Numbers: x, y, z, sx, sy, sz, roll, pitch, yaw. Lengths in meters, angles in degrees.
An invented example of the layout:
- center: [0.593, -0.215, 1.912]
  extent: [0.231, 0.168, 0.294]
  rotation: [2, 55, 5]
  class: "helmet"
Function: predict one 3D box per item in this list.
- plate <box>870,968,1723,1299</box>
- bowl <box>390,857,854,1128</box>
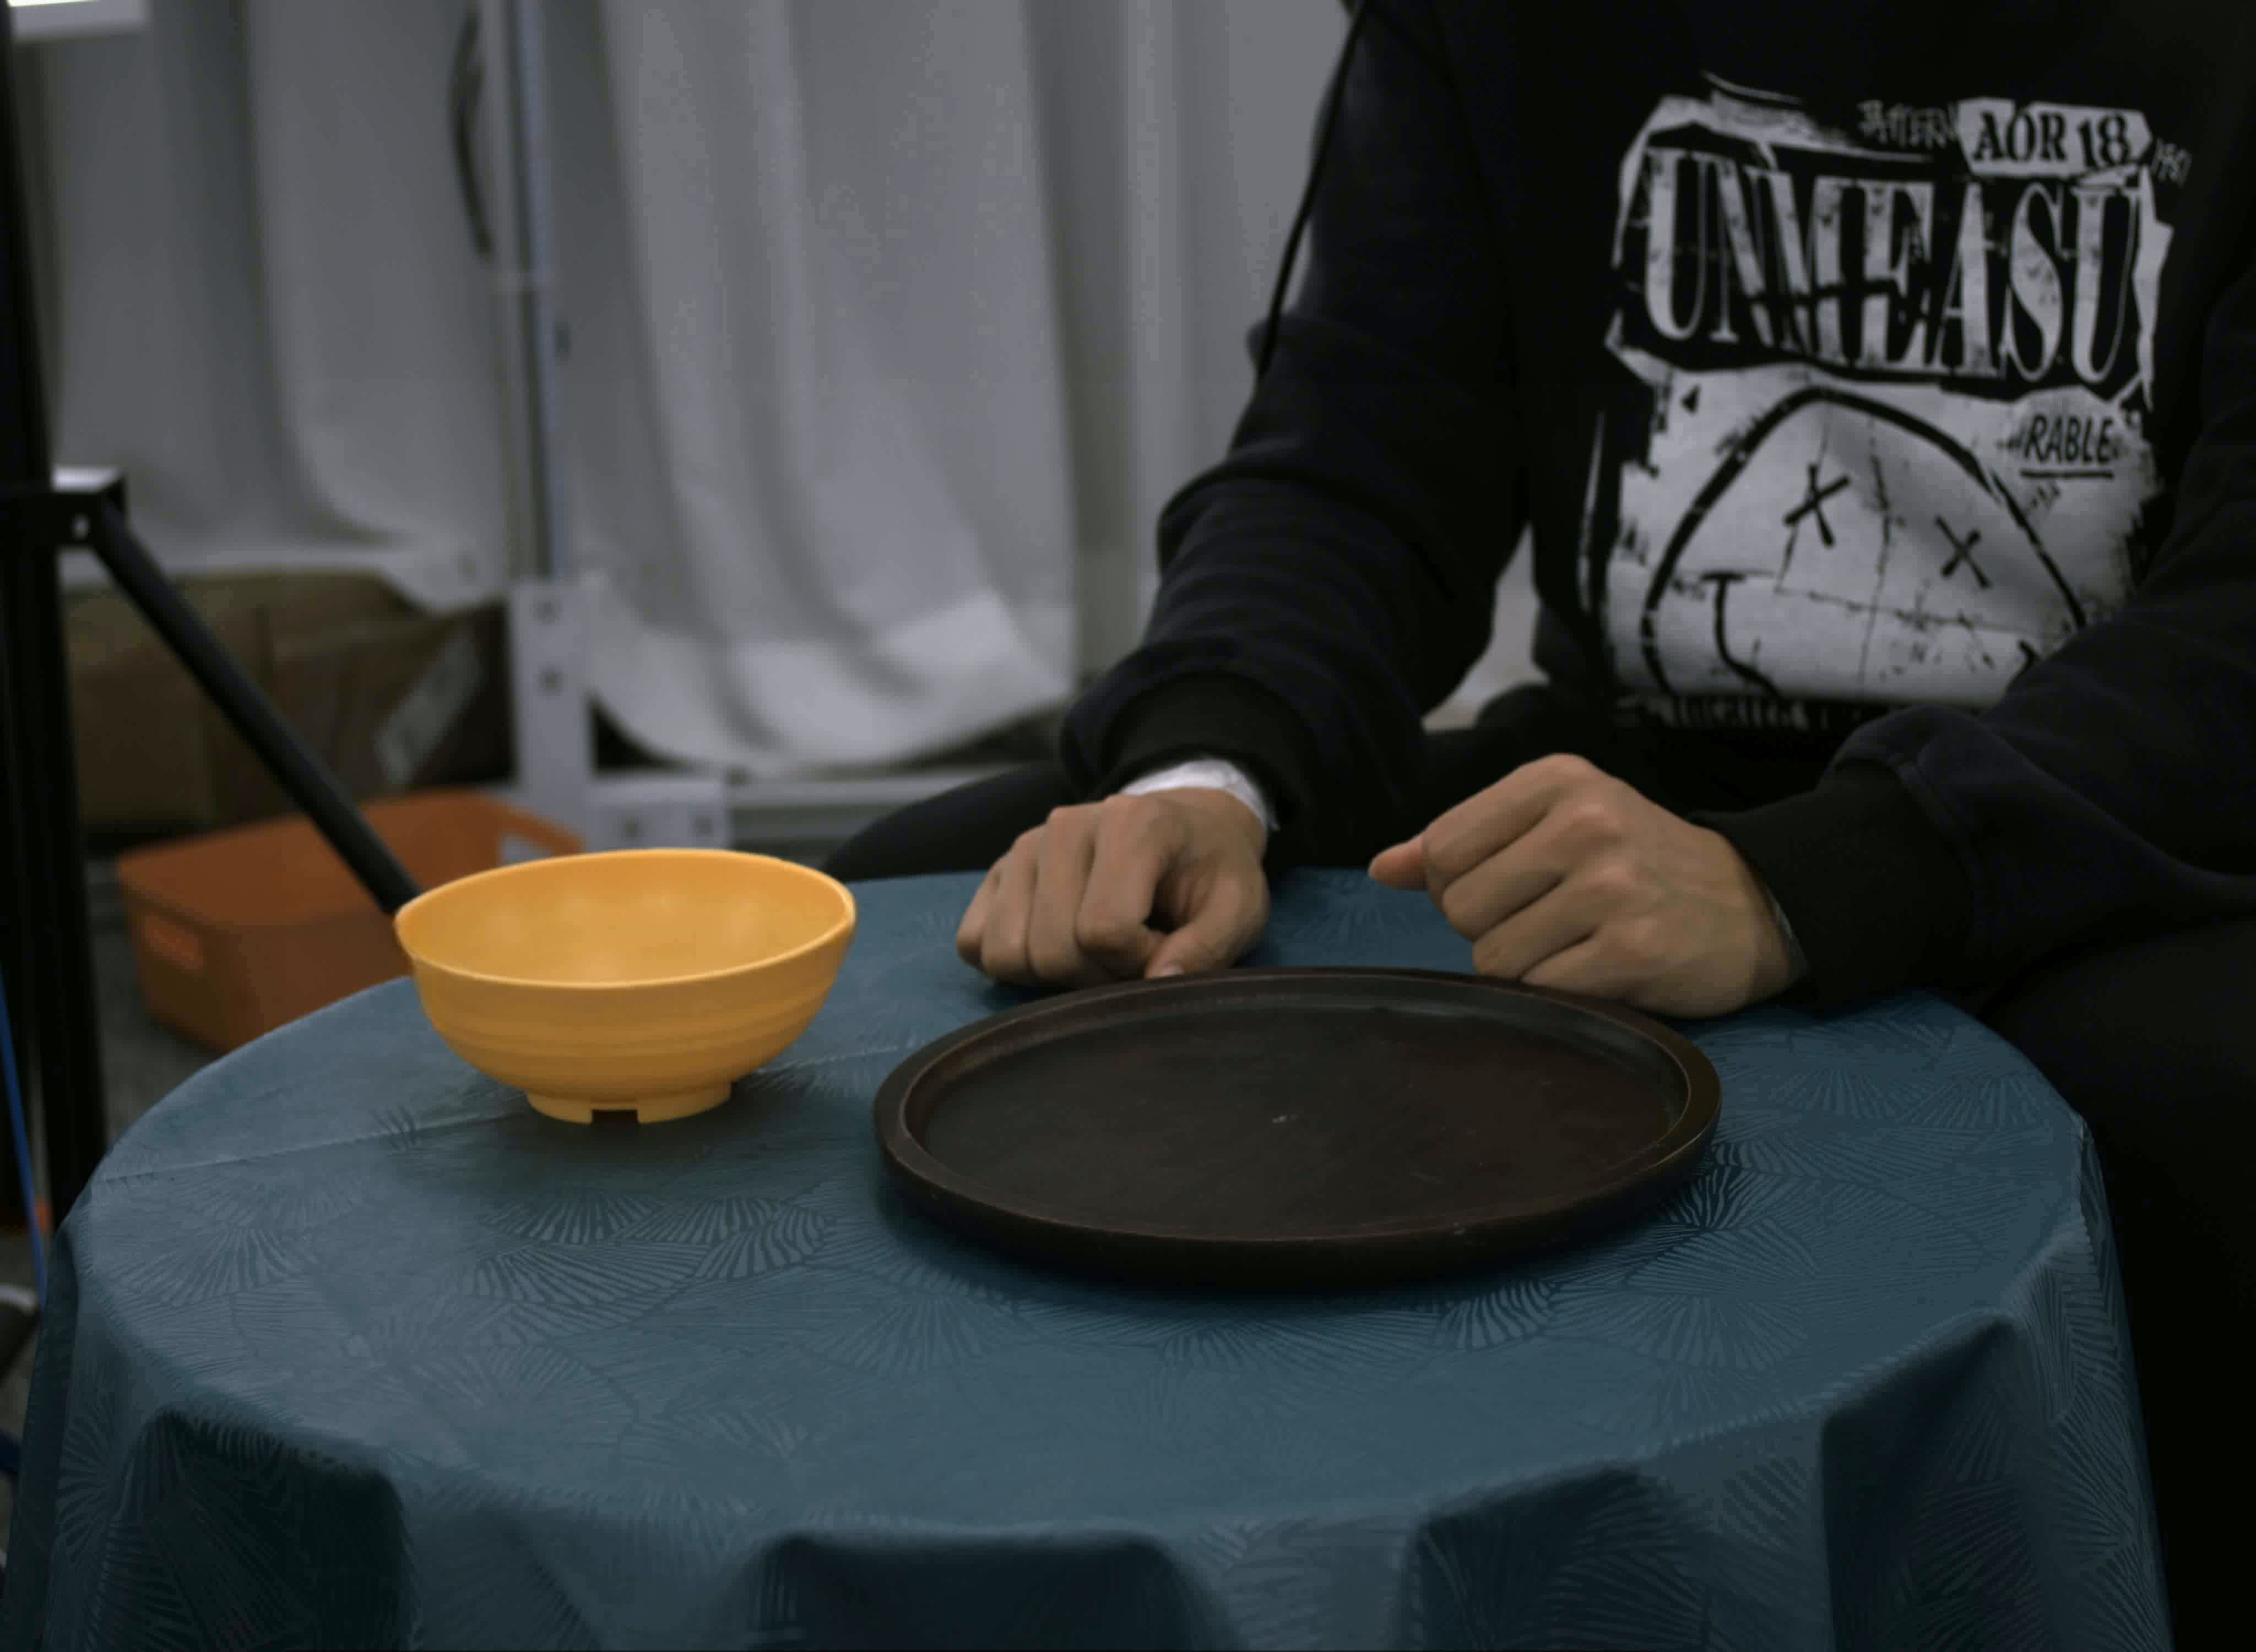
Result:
- center: [0.050, 0.089, 1.575]
  extent: [0.253, 0.029, 0.256]
  rotation: [-4, 14, 0]
  class: "plate"
- center: [-0.157, 0.057, 1.665]
  extent: [0.144, 0.060, 0.146]
  rotation: [0, 14, -1]
  class: "bowl"
